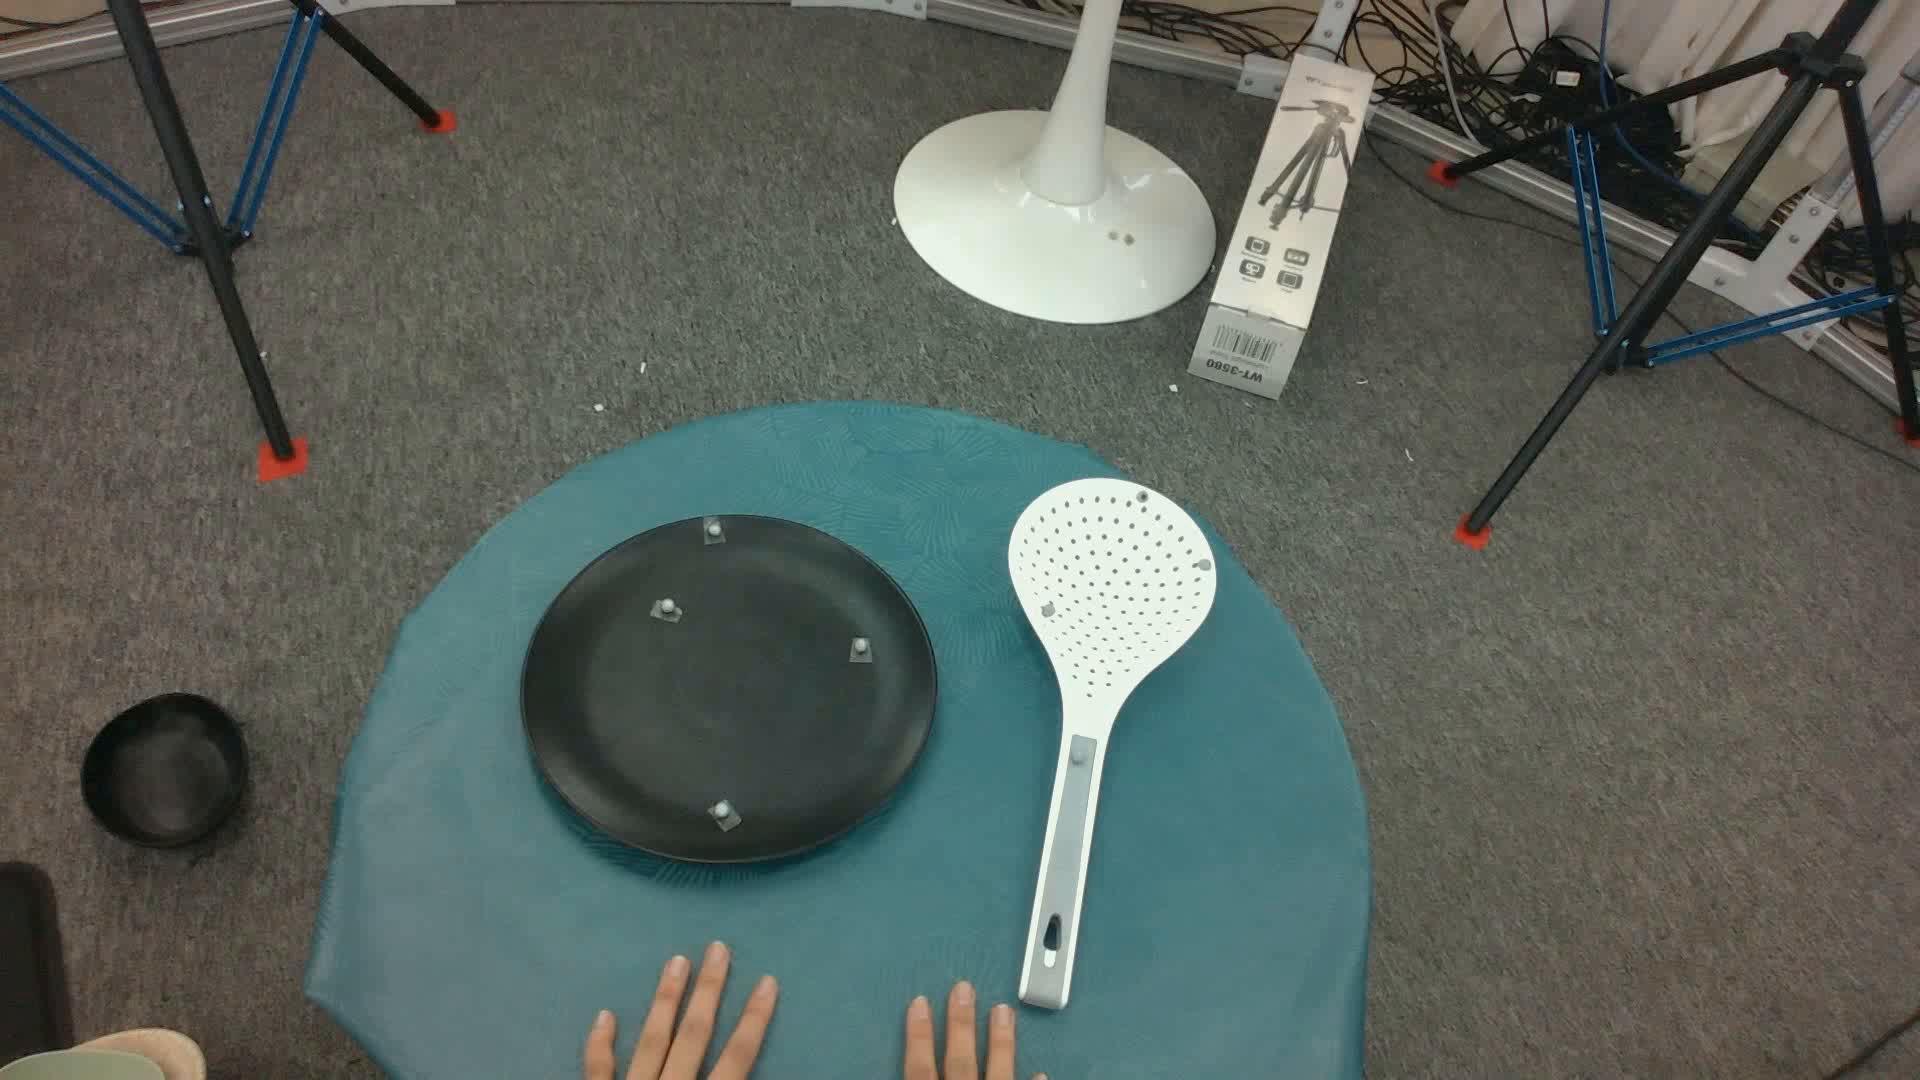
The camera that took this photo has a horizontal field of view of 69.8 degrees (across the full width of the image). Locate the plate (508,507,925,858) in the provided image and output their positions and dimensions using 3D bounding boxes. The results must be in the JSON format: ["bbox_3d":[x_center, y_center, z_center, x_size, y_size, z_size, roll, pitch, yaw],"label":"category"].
[{"bbox_3d":[-0.142,0.080,0.825,0.244,0.023,0.245,6,51,-7],"label":"plate"}]

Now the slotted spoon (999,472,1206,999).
[{"bbox_3d":[0.070,0.103,0.835,0.136,0.045,0.351,13,51,1],"label":"slotted spoon"}]
